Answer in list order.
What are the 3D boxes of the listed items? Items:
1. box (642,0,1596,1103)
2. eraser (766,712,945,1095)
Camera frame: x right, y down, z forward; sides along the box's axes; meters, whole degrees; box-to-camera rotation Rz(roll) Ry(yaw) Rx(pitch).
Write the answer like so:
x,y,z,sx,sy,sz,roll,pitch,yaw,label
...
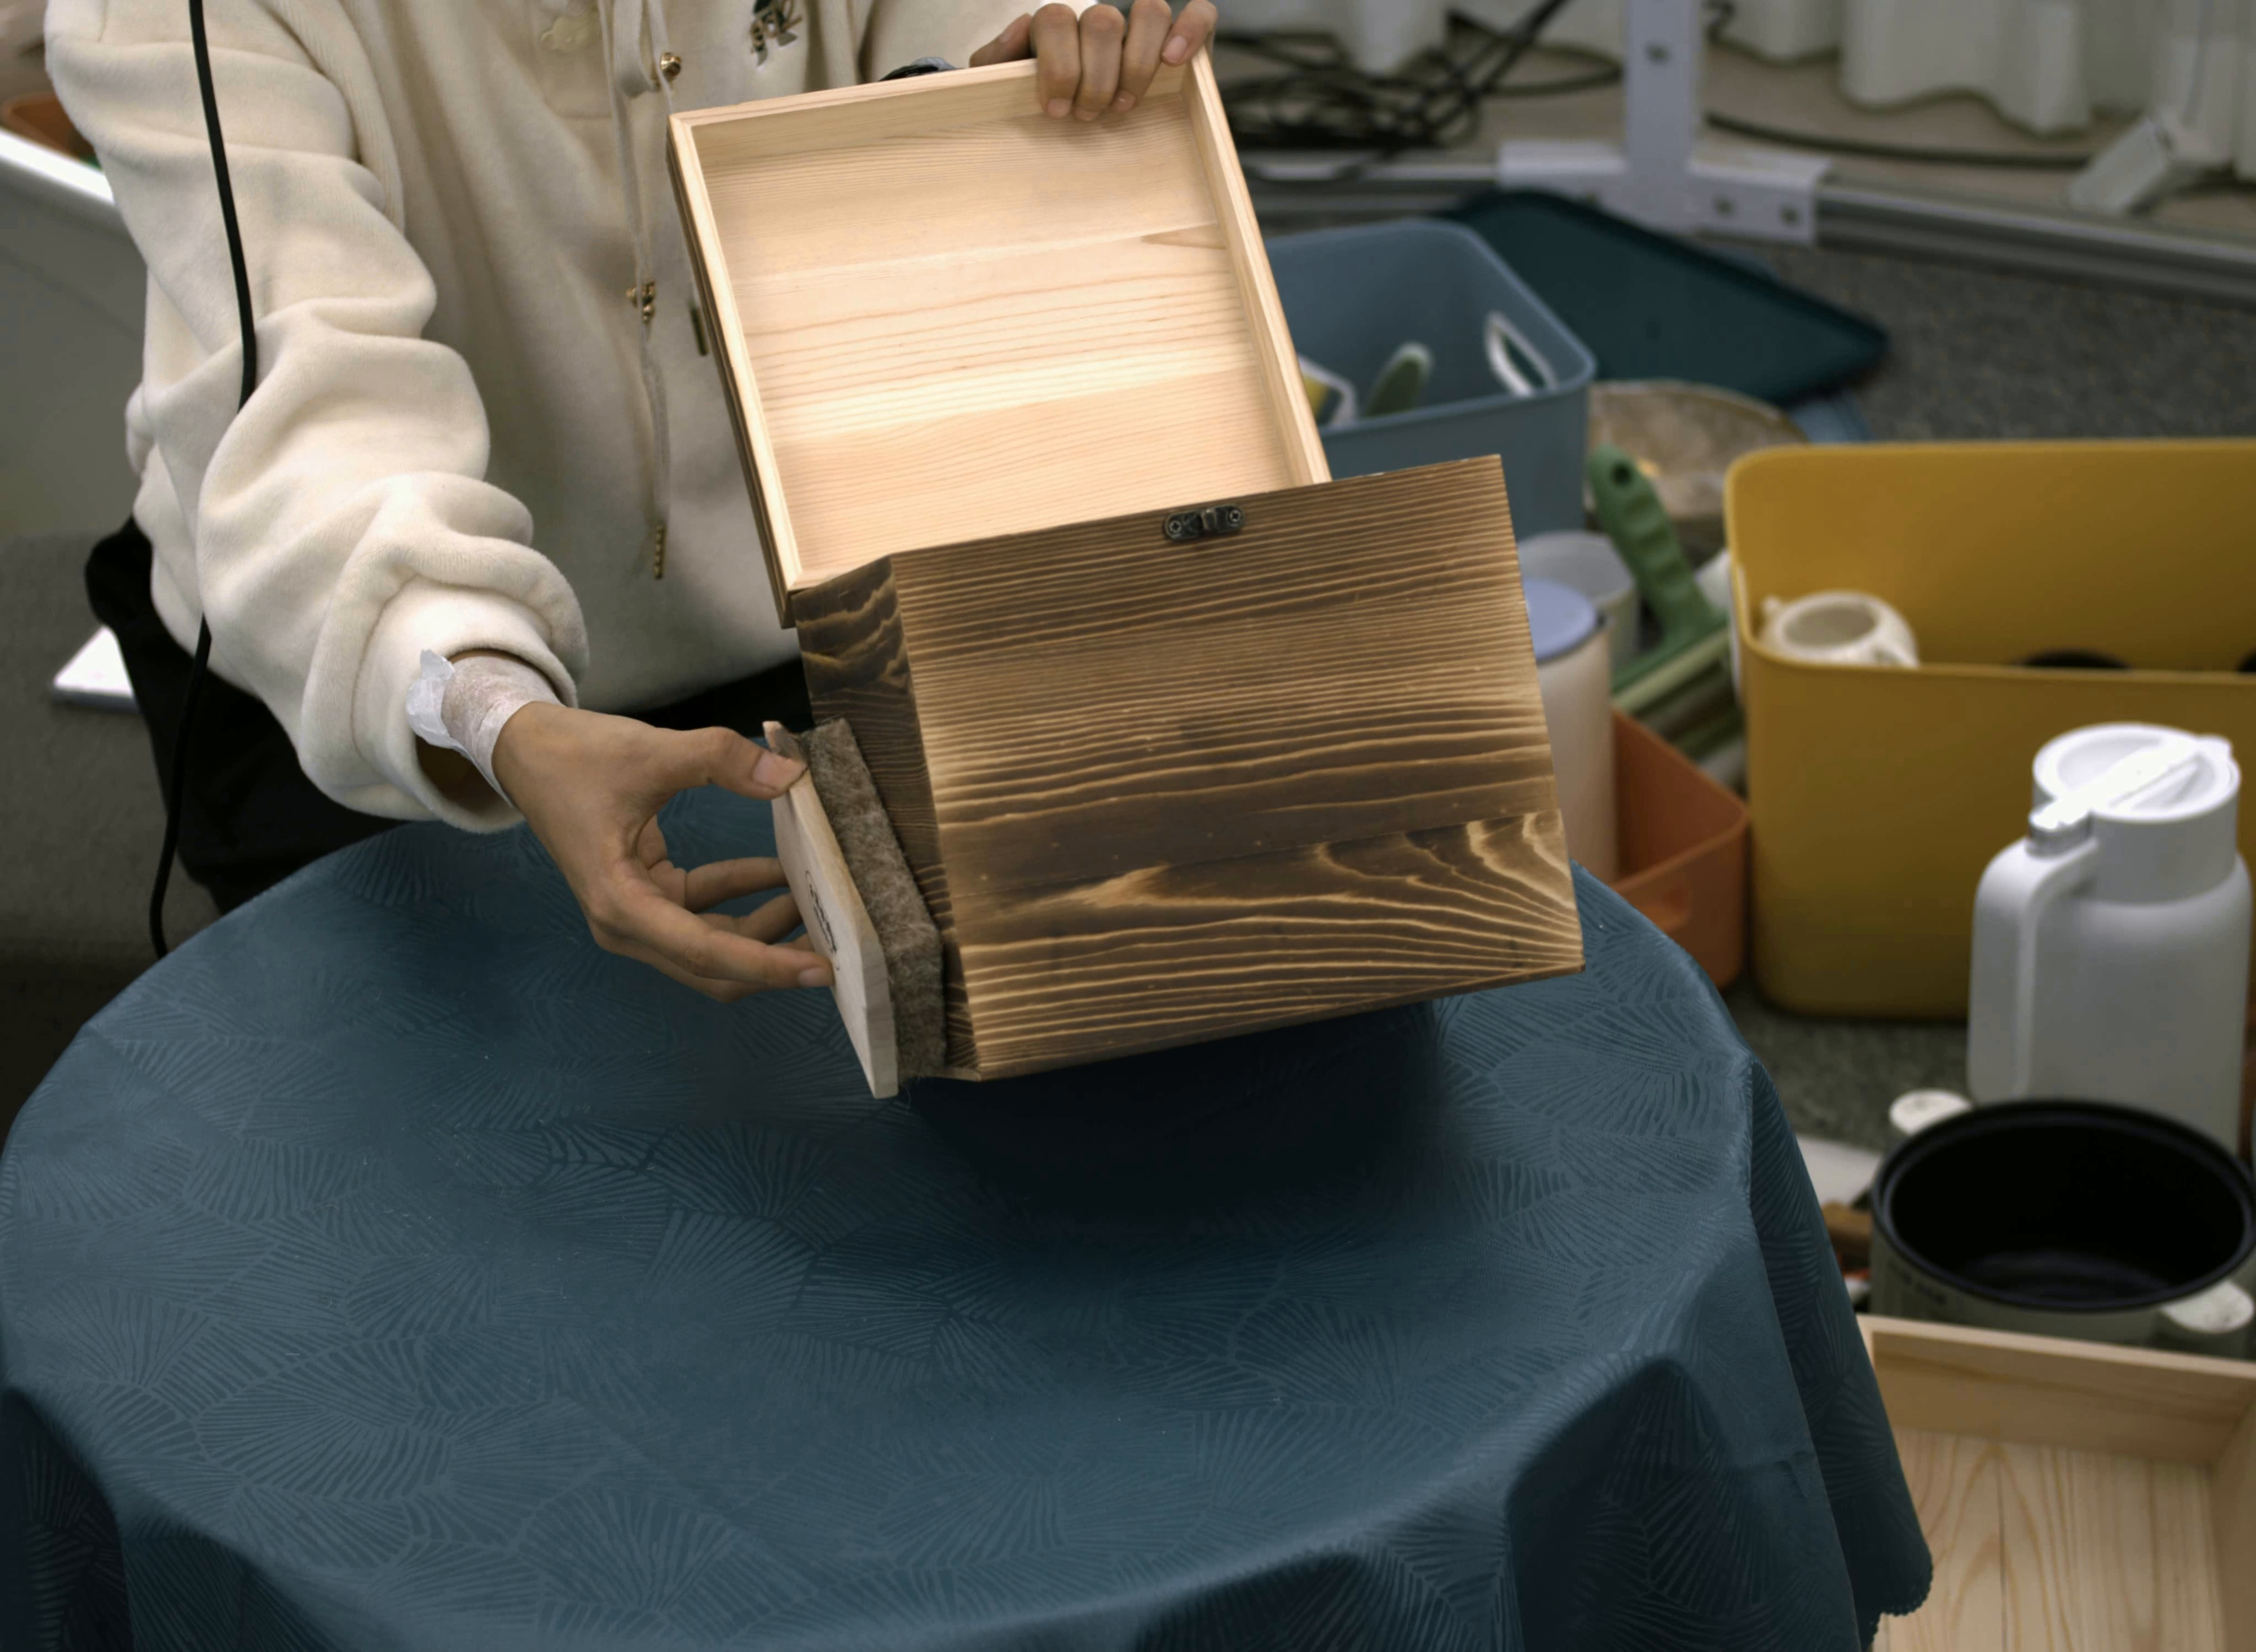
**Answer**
x,y,z,sx,sy,sz,roll,pitch,yaw,label
-0.015,-0.113,1.920,0.209,0.377,0.320,-11,0,-13,box
-0.088,0.023,1.834,0.029,0.056,0.141,-10,37,-10,eraser
